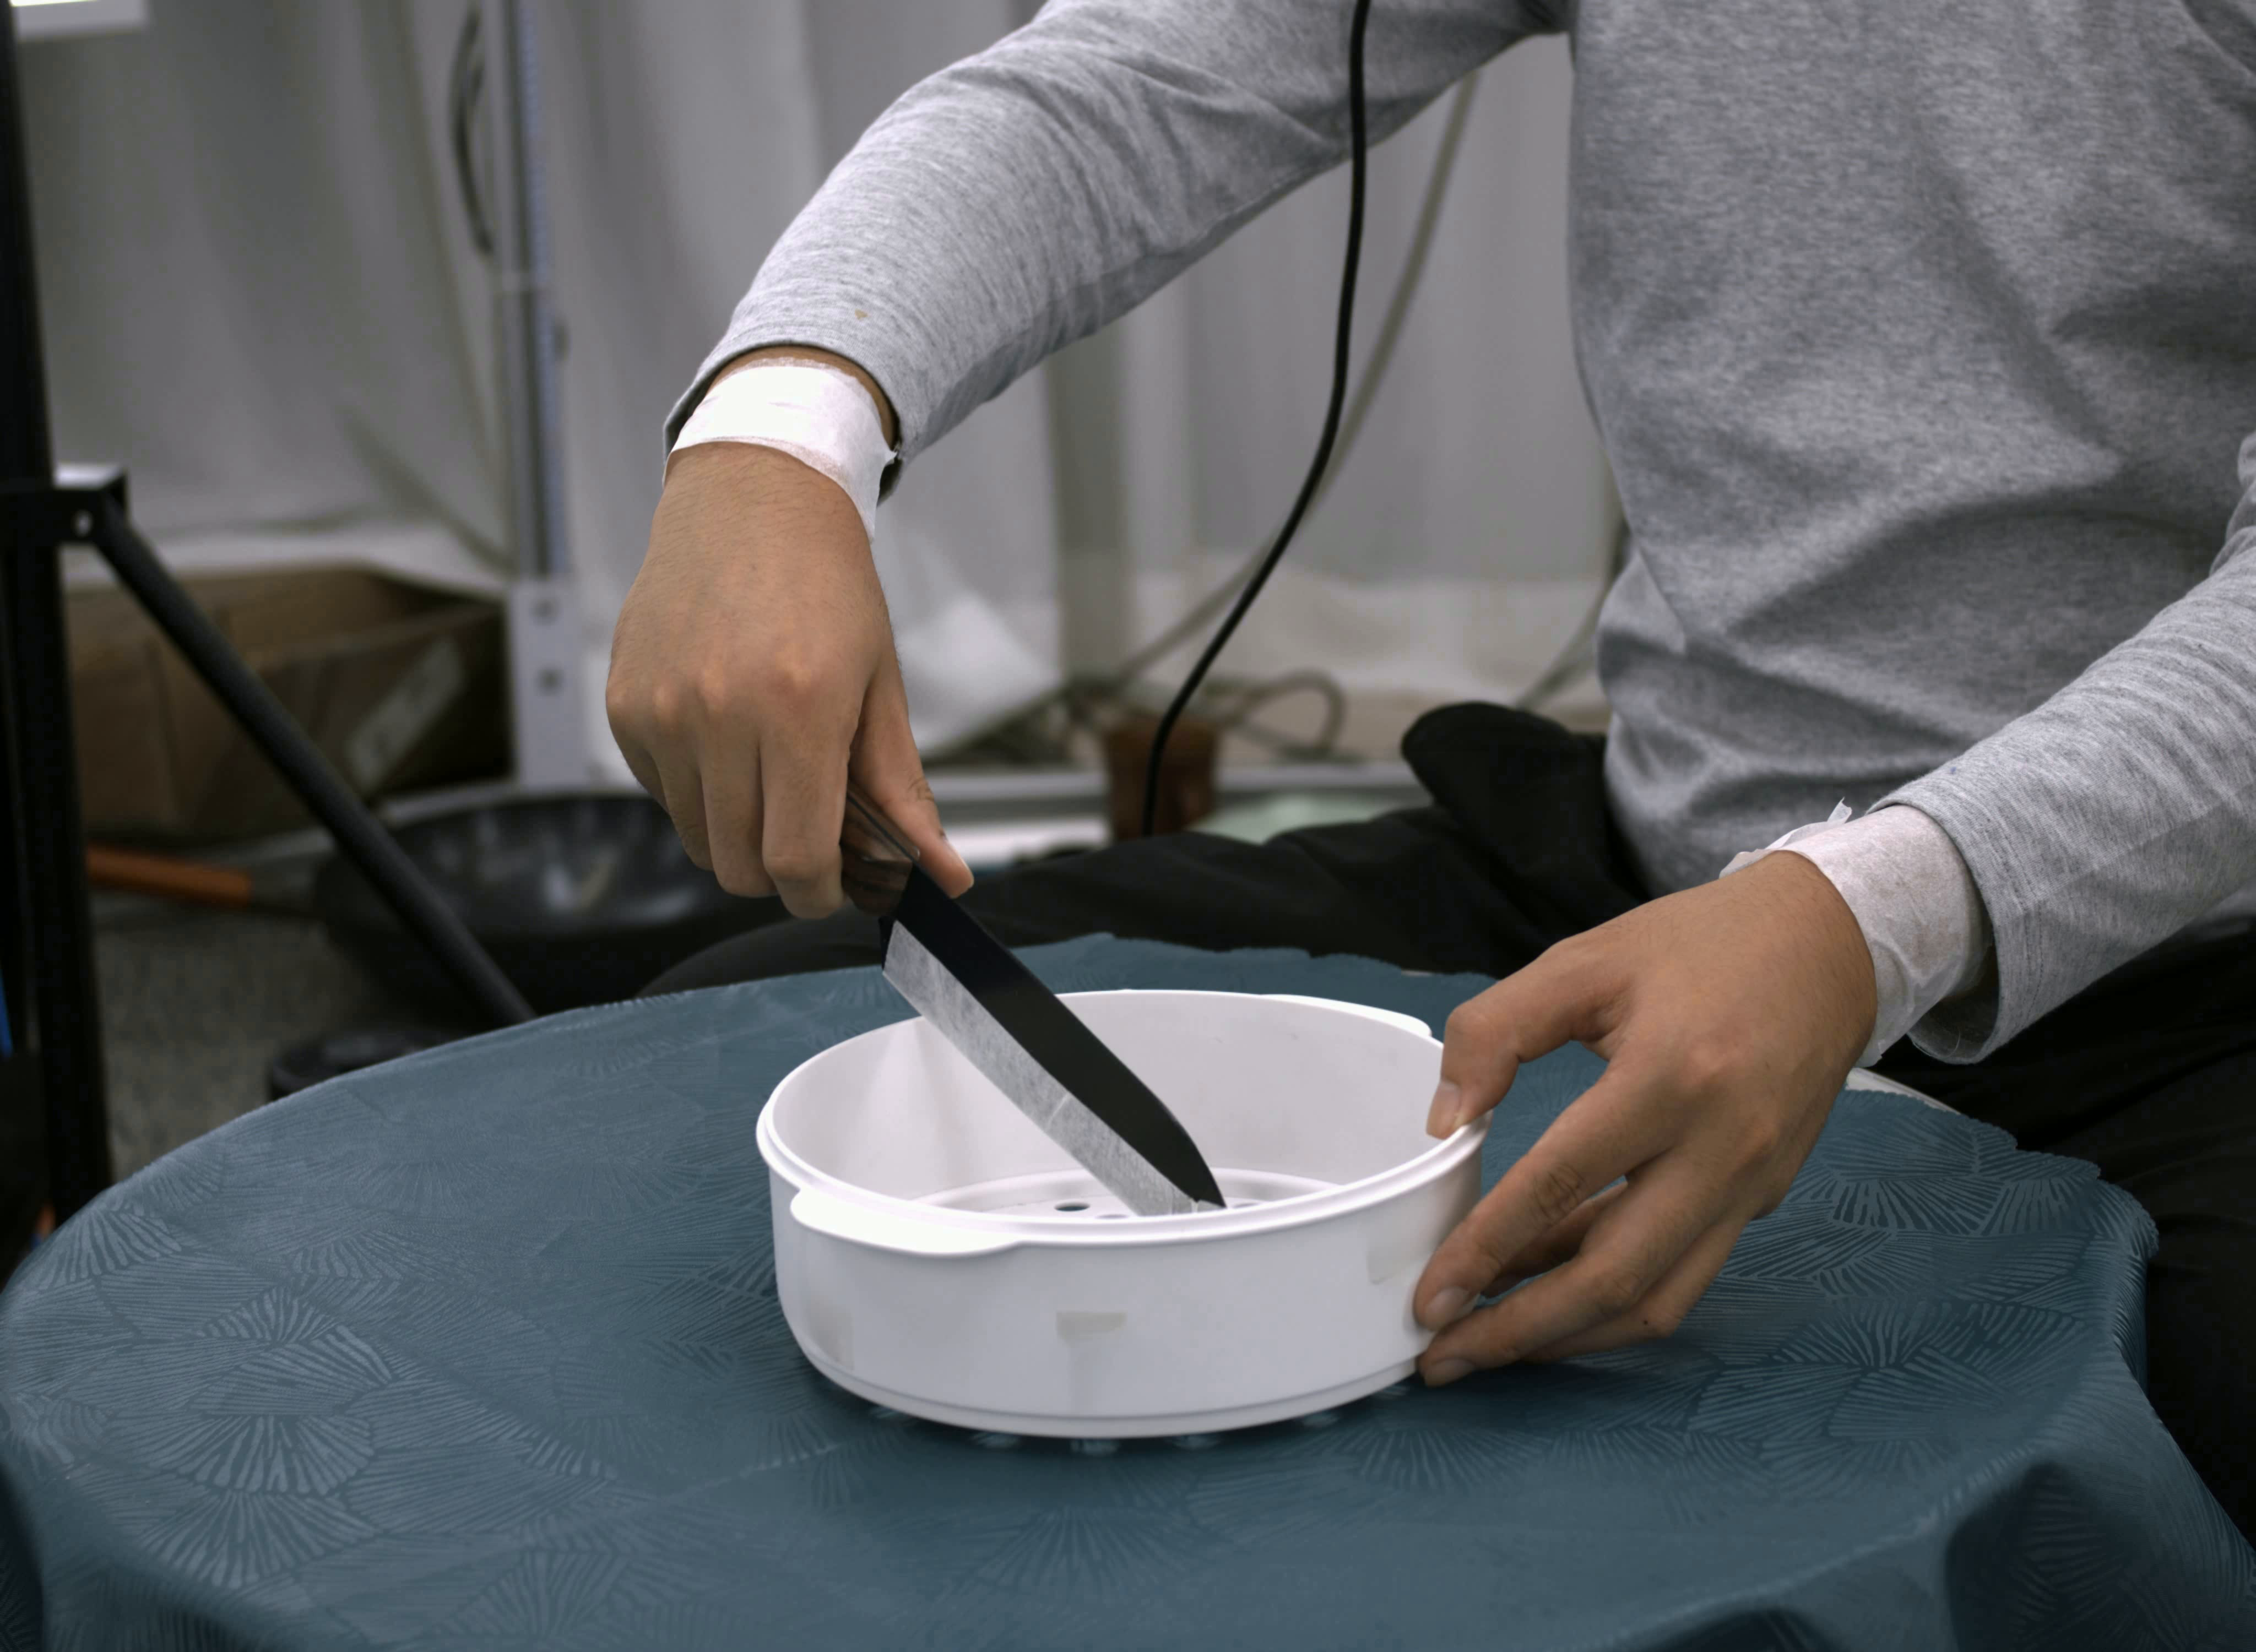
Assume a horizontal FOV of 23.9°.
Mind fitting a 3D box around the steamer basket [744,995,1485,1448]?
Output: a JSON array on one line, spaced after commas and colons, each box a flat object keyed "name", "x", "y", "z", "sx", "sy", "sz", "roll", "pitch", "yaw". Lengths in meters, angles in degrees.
[{"name": "steamer basket", "x": -0.003, "y": 0.107, "z": 1.443, "sx": 0.206, "sy": 0.069, "sz": 0.226, "roll": 10, "pitch": 19, "yaw": 36}]

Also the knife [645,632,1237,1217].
[{"name": "knife", "x": -0.052, "y": 0.034, "z": 1.492, "sx": 0.019, "sy": 0.050, "sz": 0.295, "roll": -18, "pitch": 47, "yaw": -33}]
